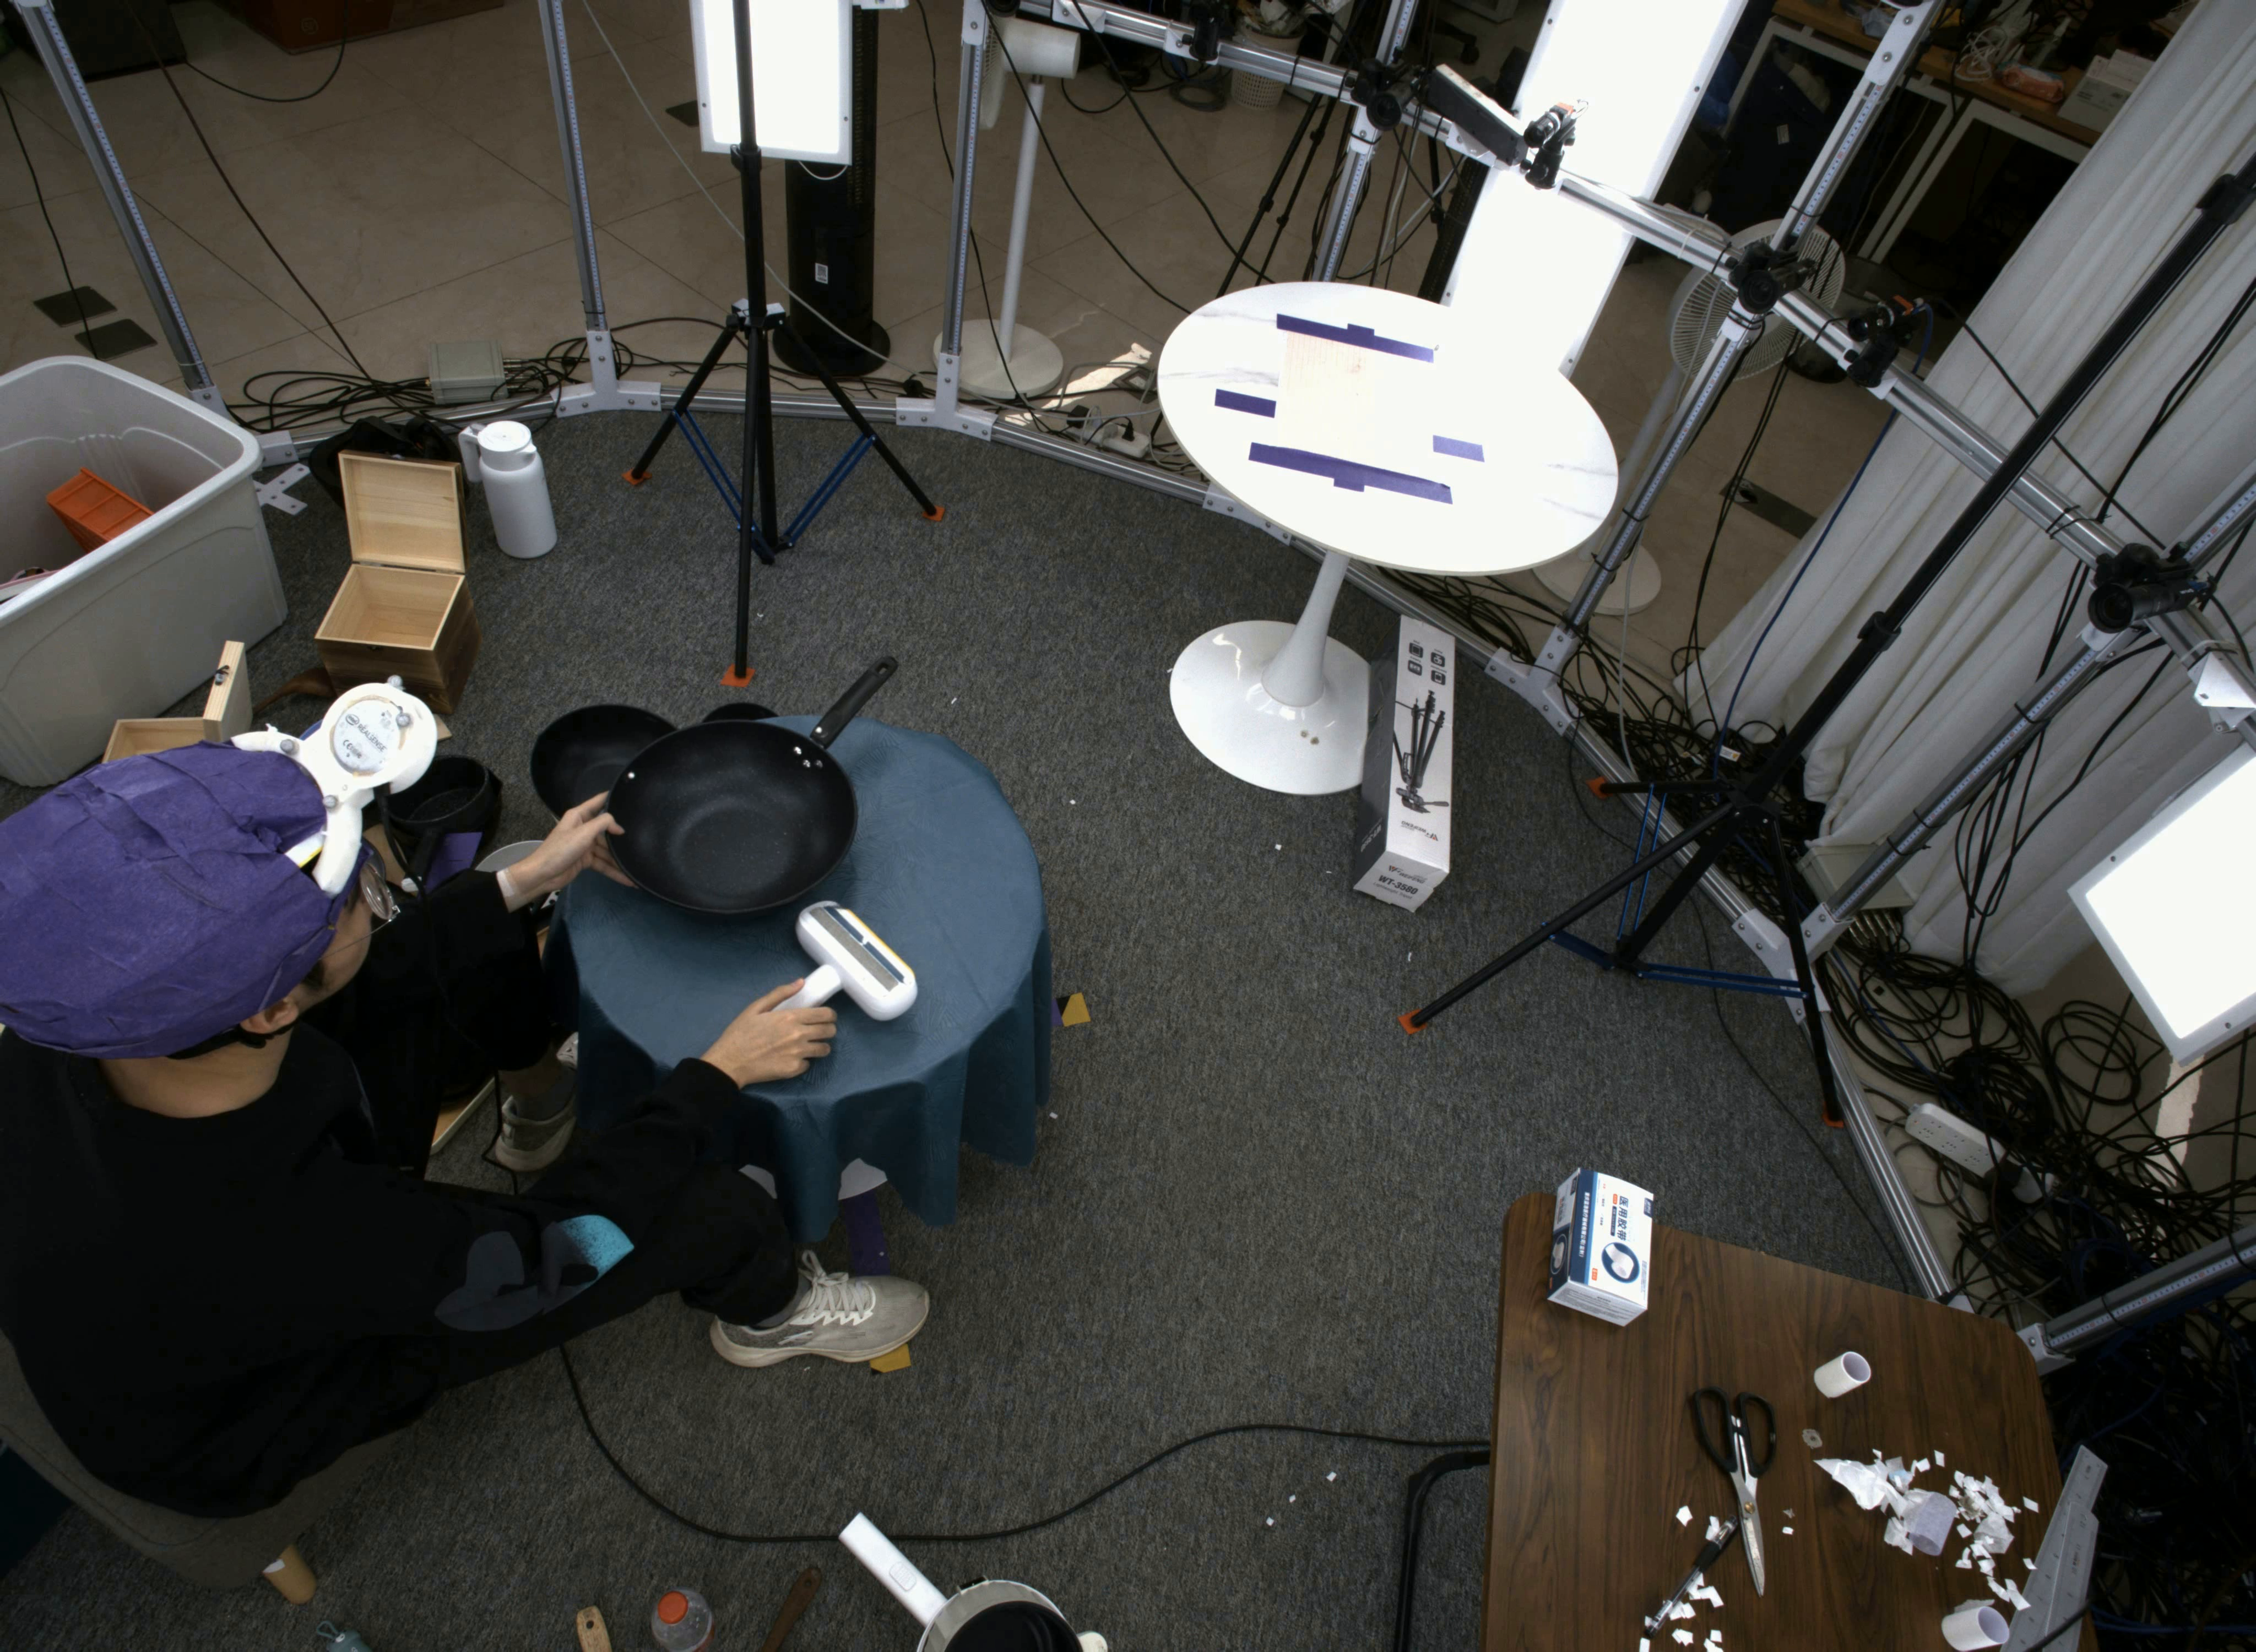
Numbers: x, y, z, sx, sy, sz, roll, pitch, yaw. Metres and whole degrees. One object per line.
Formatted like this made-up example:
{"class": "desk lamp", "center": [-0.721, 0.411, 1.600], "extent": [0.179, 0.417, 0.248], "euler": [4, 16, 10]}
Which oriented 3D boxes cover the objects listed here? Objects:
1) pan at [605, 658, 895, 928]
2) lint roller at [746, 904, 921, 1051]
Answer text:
{"class": "pan", "center": [-0.461, -0.048, 1.687], "extent": [0.306, 0.113, 0.475], "euler": [33, 53, 8]}
{"class": "lint roller", "center": [-0.372, 0.195, 1.556], "extent": [0.193, 0.076, 0.187], "euler": [-30, 60, -29]}
